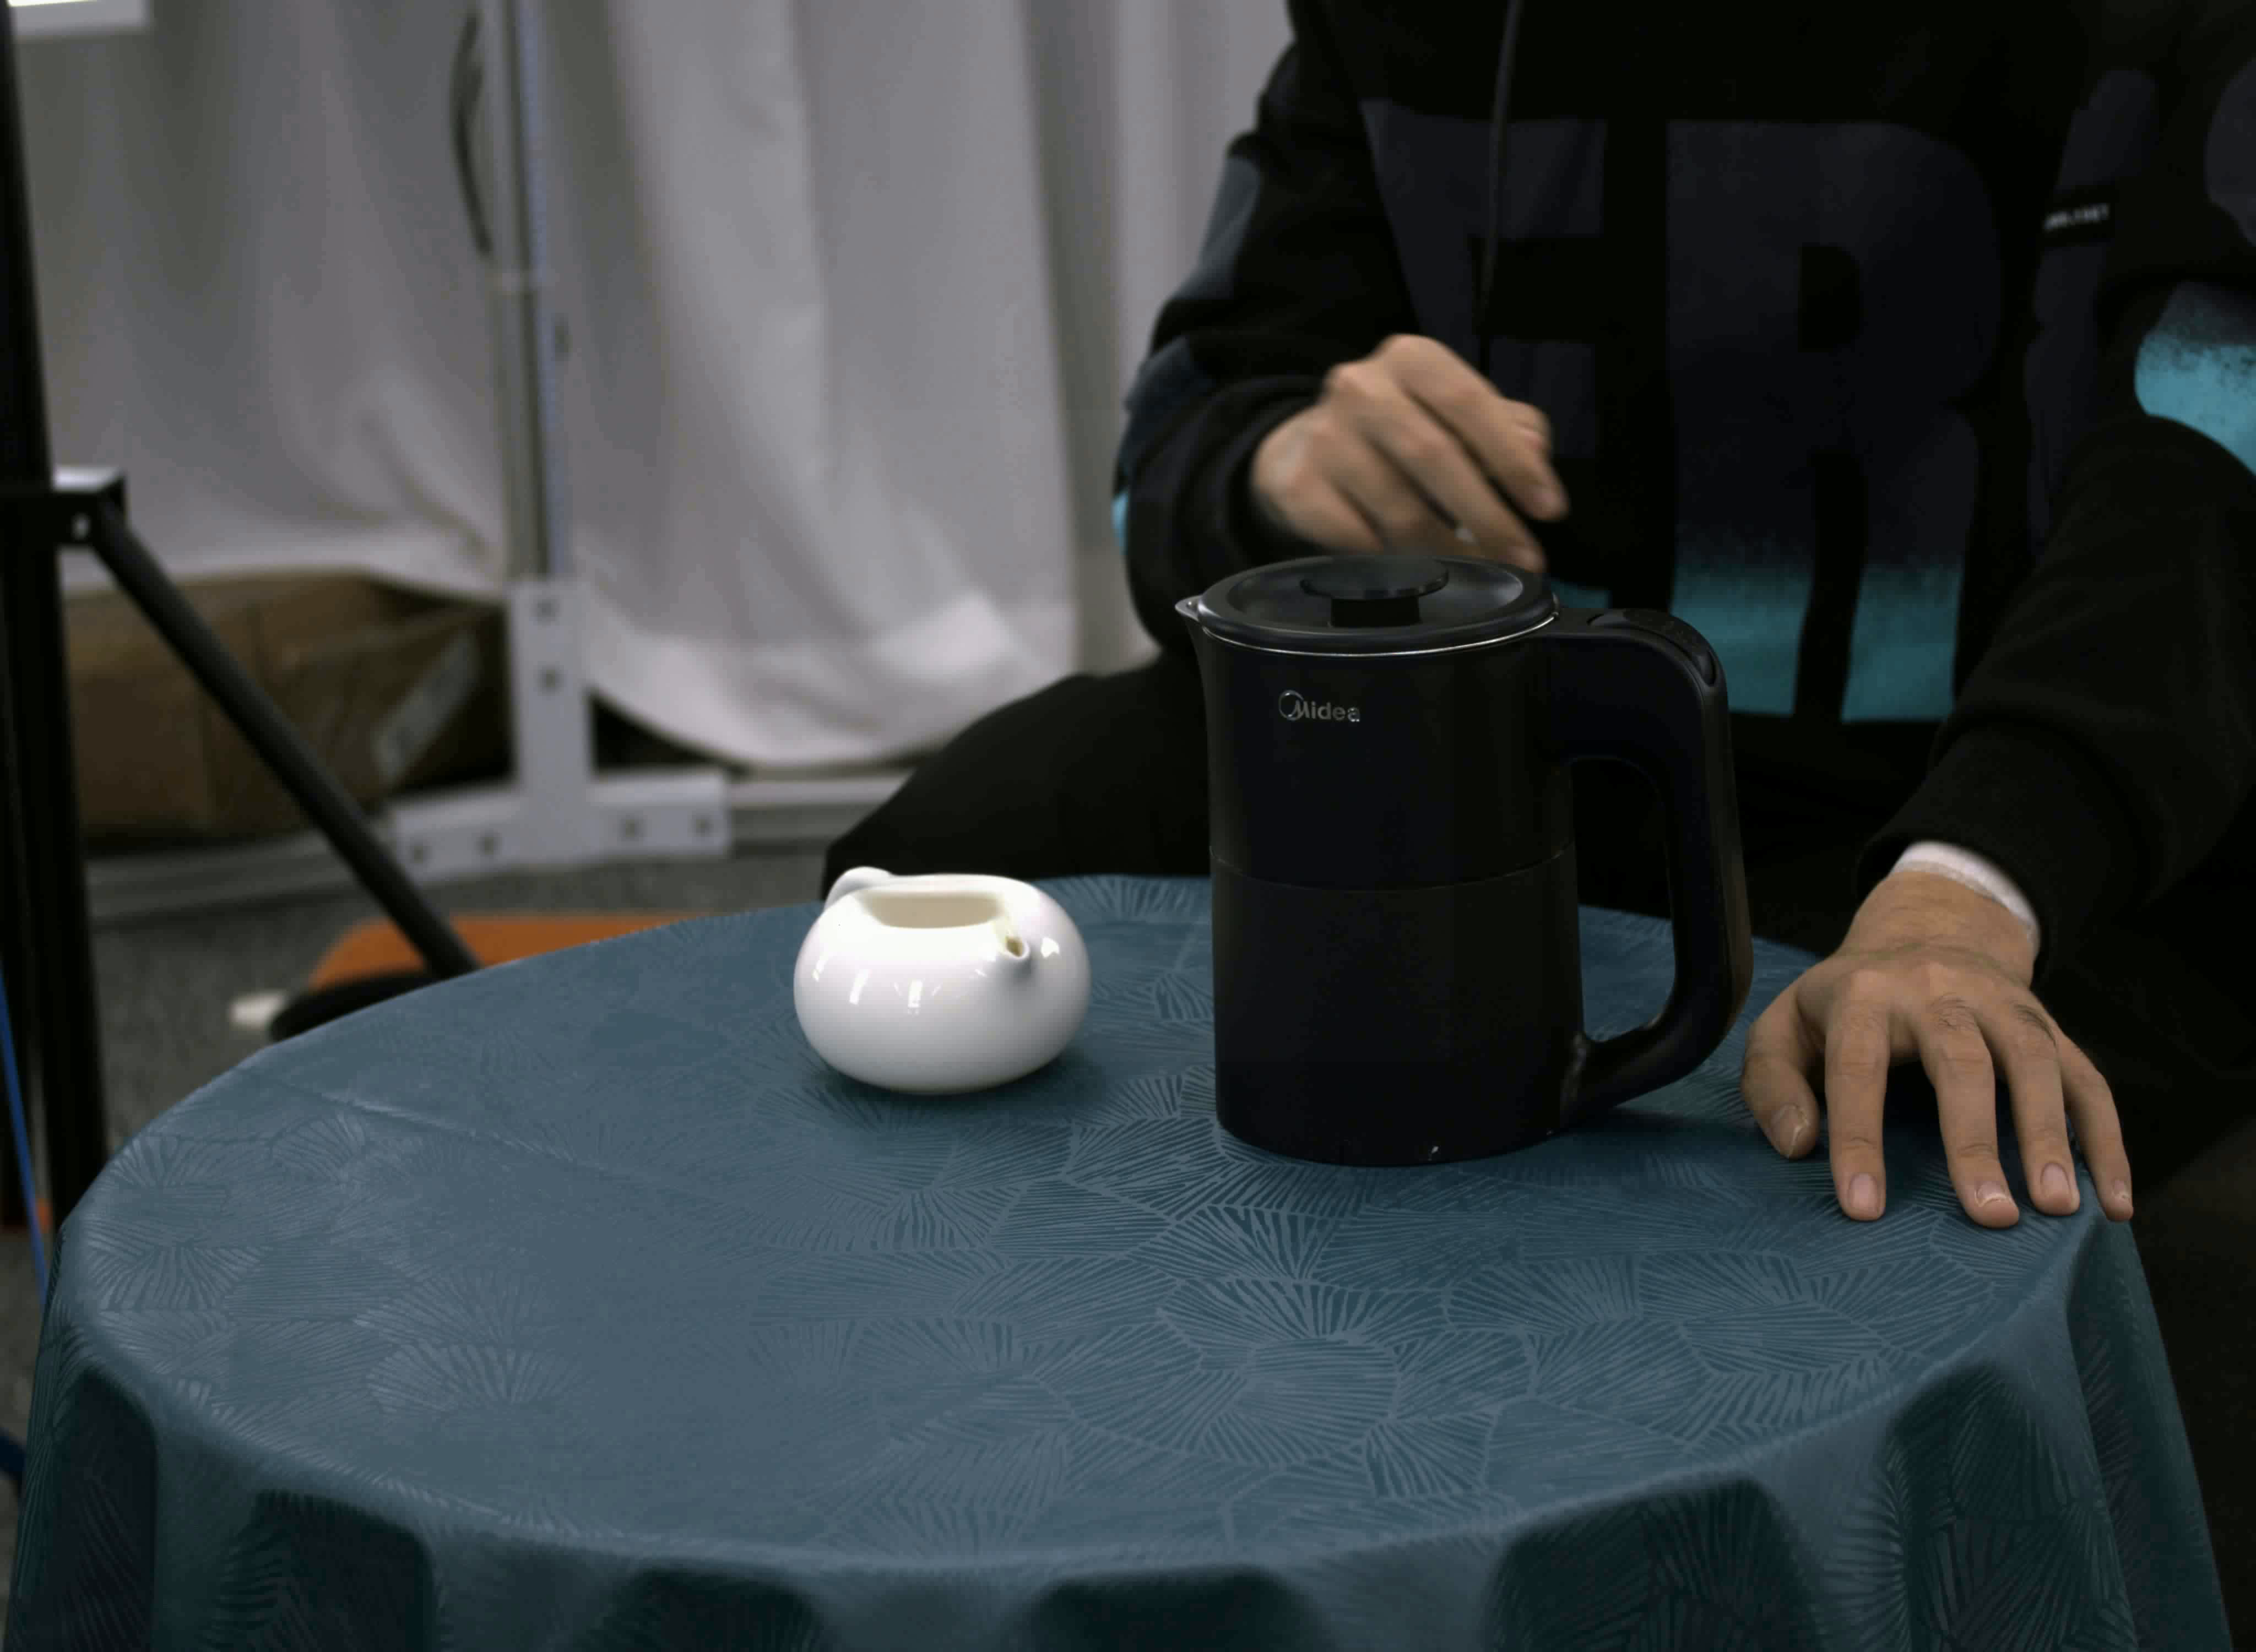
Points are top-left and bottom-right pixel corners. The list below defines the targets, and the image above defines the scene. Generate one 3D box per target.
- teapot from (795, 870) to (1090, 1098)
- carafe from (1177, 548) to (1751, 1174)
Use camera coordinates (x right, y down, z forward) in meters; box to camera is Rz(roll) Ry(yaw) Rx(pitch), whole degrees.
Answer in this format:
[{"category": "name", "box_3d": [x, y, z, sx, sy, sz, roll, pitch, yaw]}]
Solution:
[{"category": "teapot", "box_3d": [-0.065, 0.048, 1.681, 0.091, 0.056, 0.130, -18, 21, -33]}, {"category": "carafe", "box_3d": [0.099, 0.006, 1.590, 0.173, 0.173, 0.113, 1, 14, 20]}]
